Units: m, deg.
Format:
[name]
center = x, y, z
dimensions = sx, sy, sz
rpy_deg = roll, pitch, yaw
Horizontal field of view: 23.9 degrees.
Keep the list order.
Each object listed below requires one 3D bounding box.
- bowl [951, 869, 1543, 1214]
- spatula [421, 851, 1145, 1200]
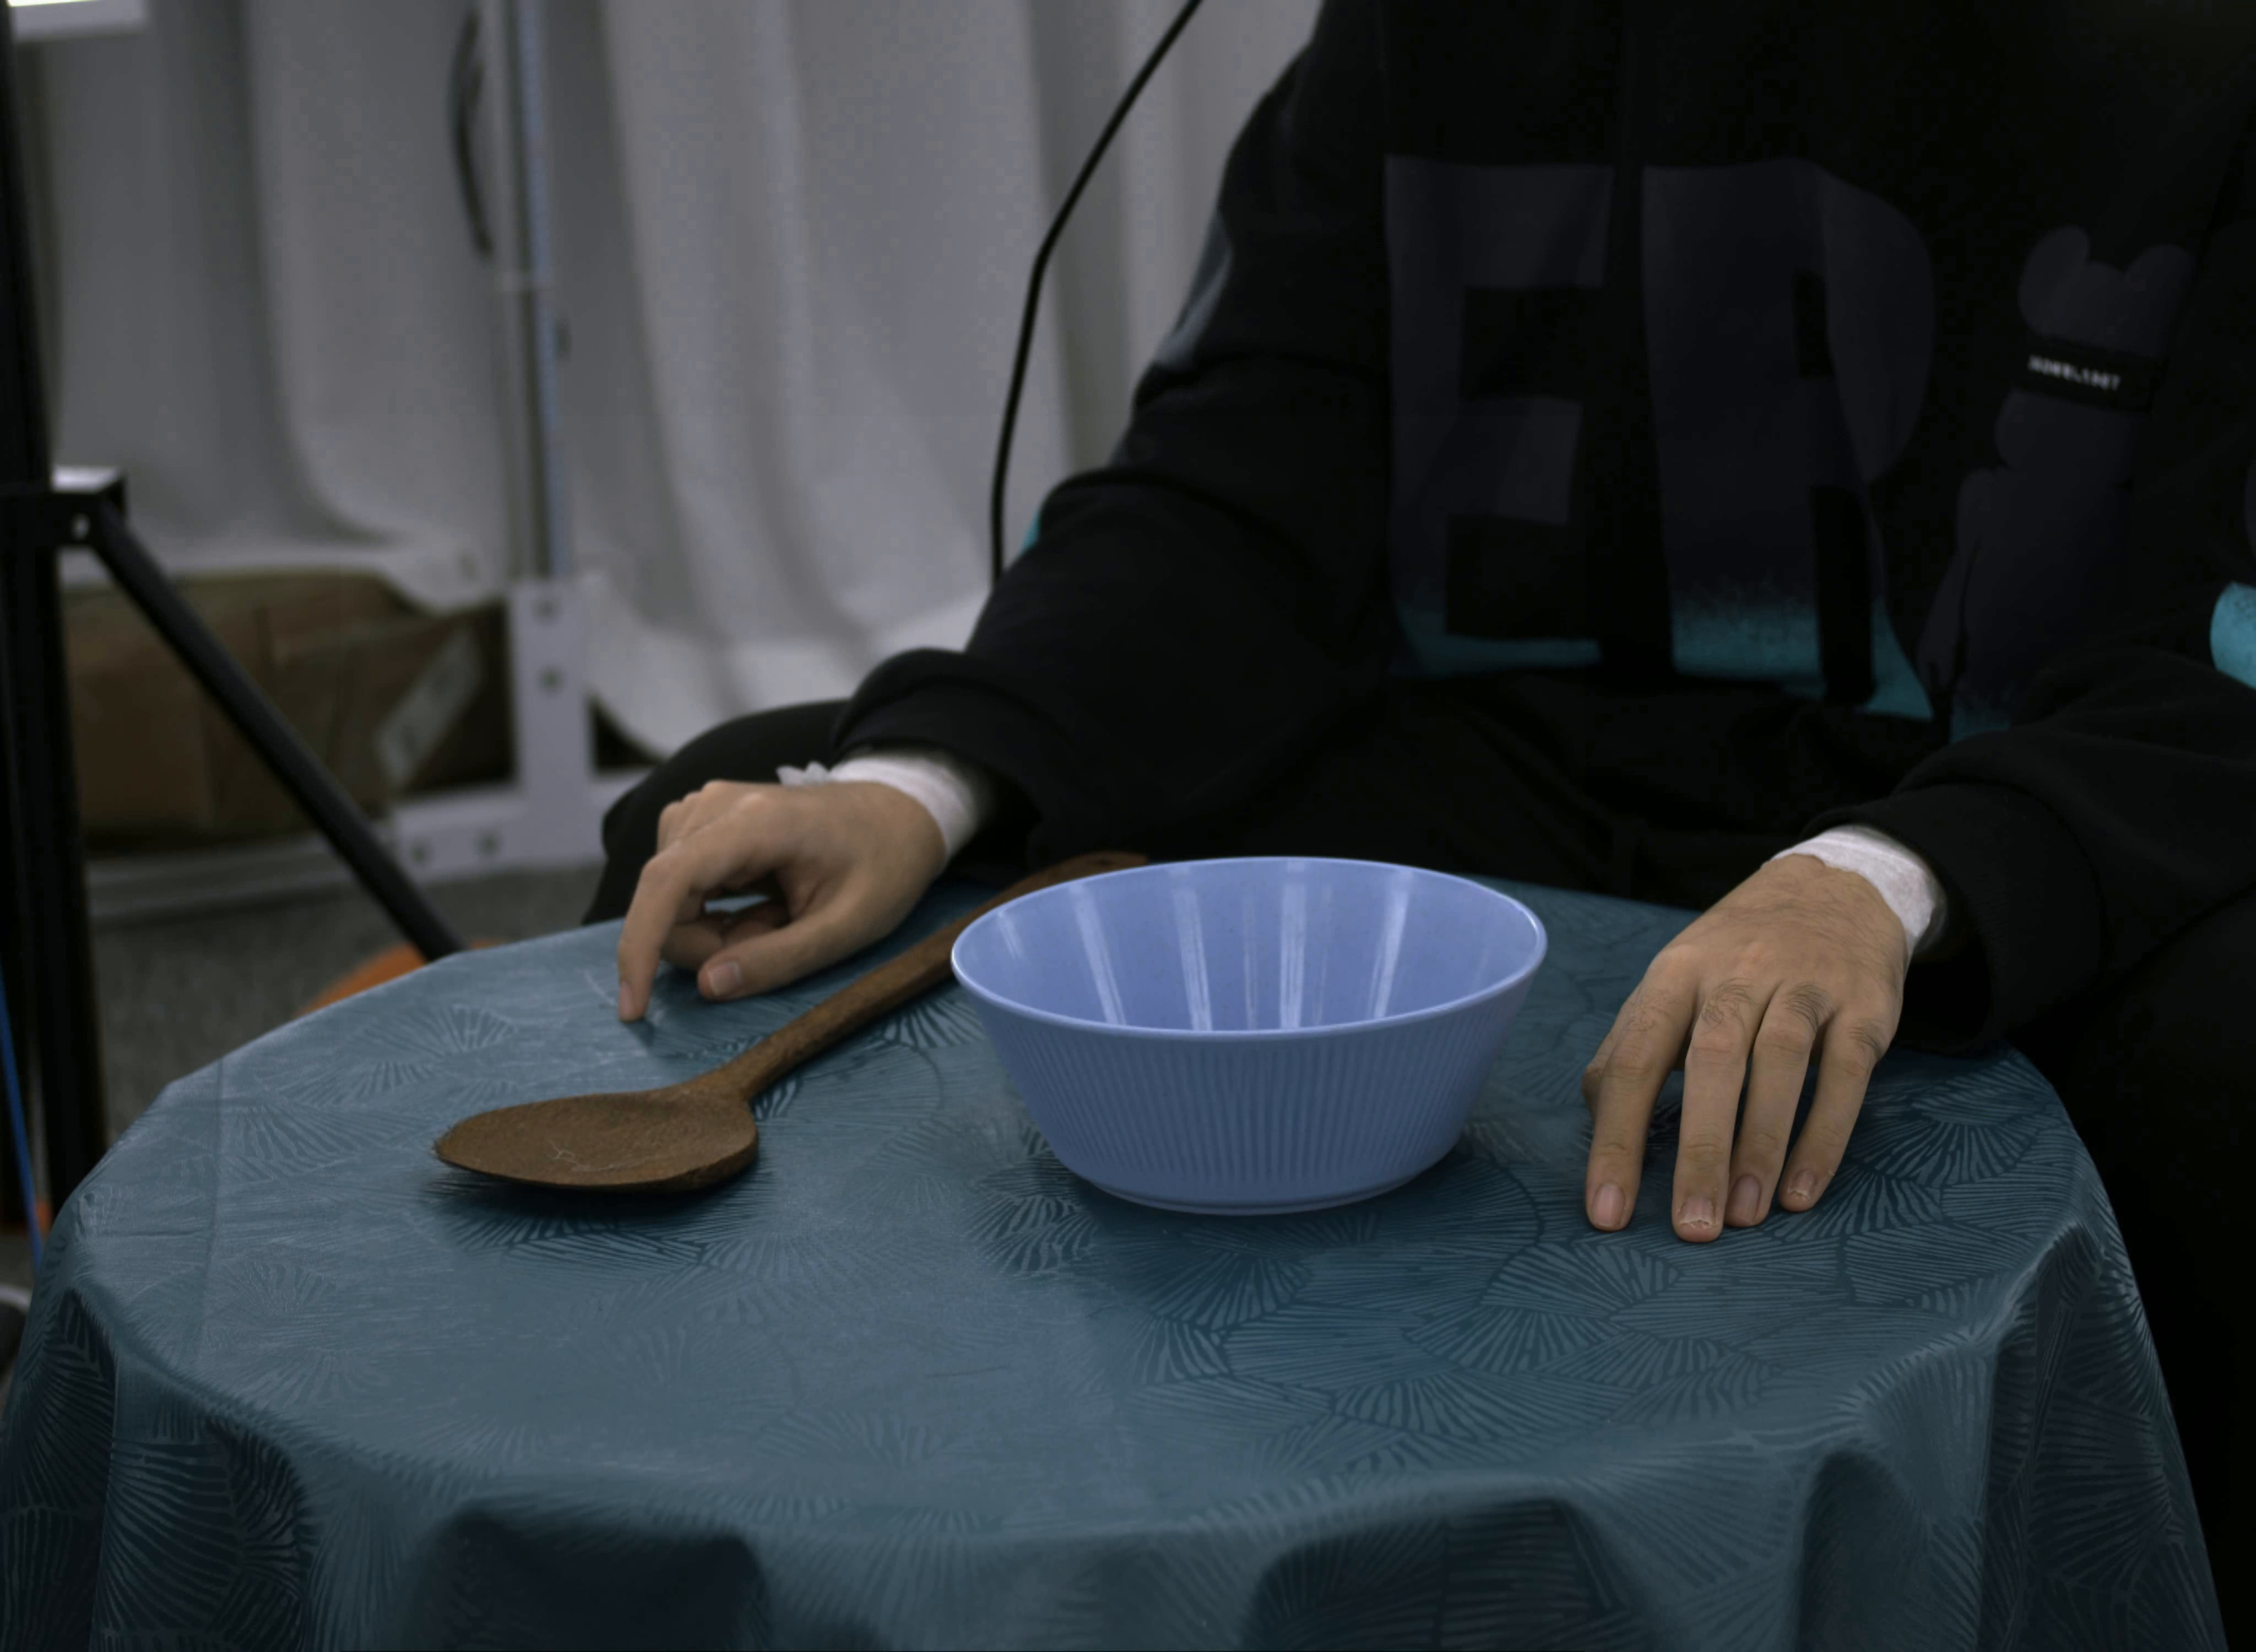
[bowl]
center = 0.035, 0.066, 1.575
dimensions = 0.175, 0.070, 0.177
rpy_deg = -2, 15, -1
[spatula]
center = -0.090, 0.059, 1.721
dimensions = 0.098, 0.016, 0.379
rpy_deg = 6, 18, 28
